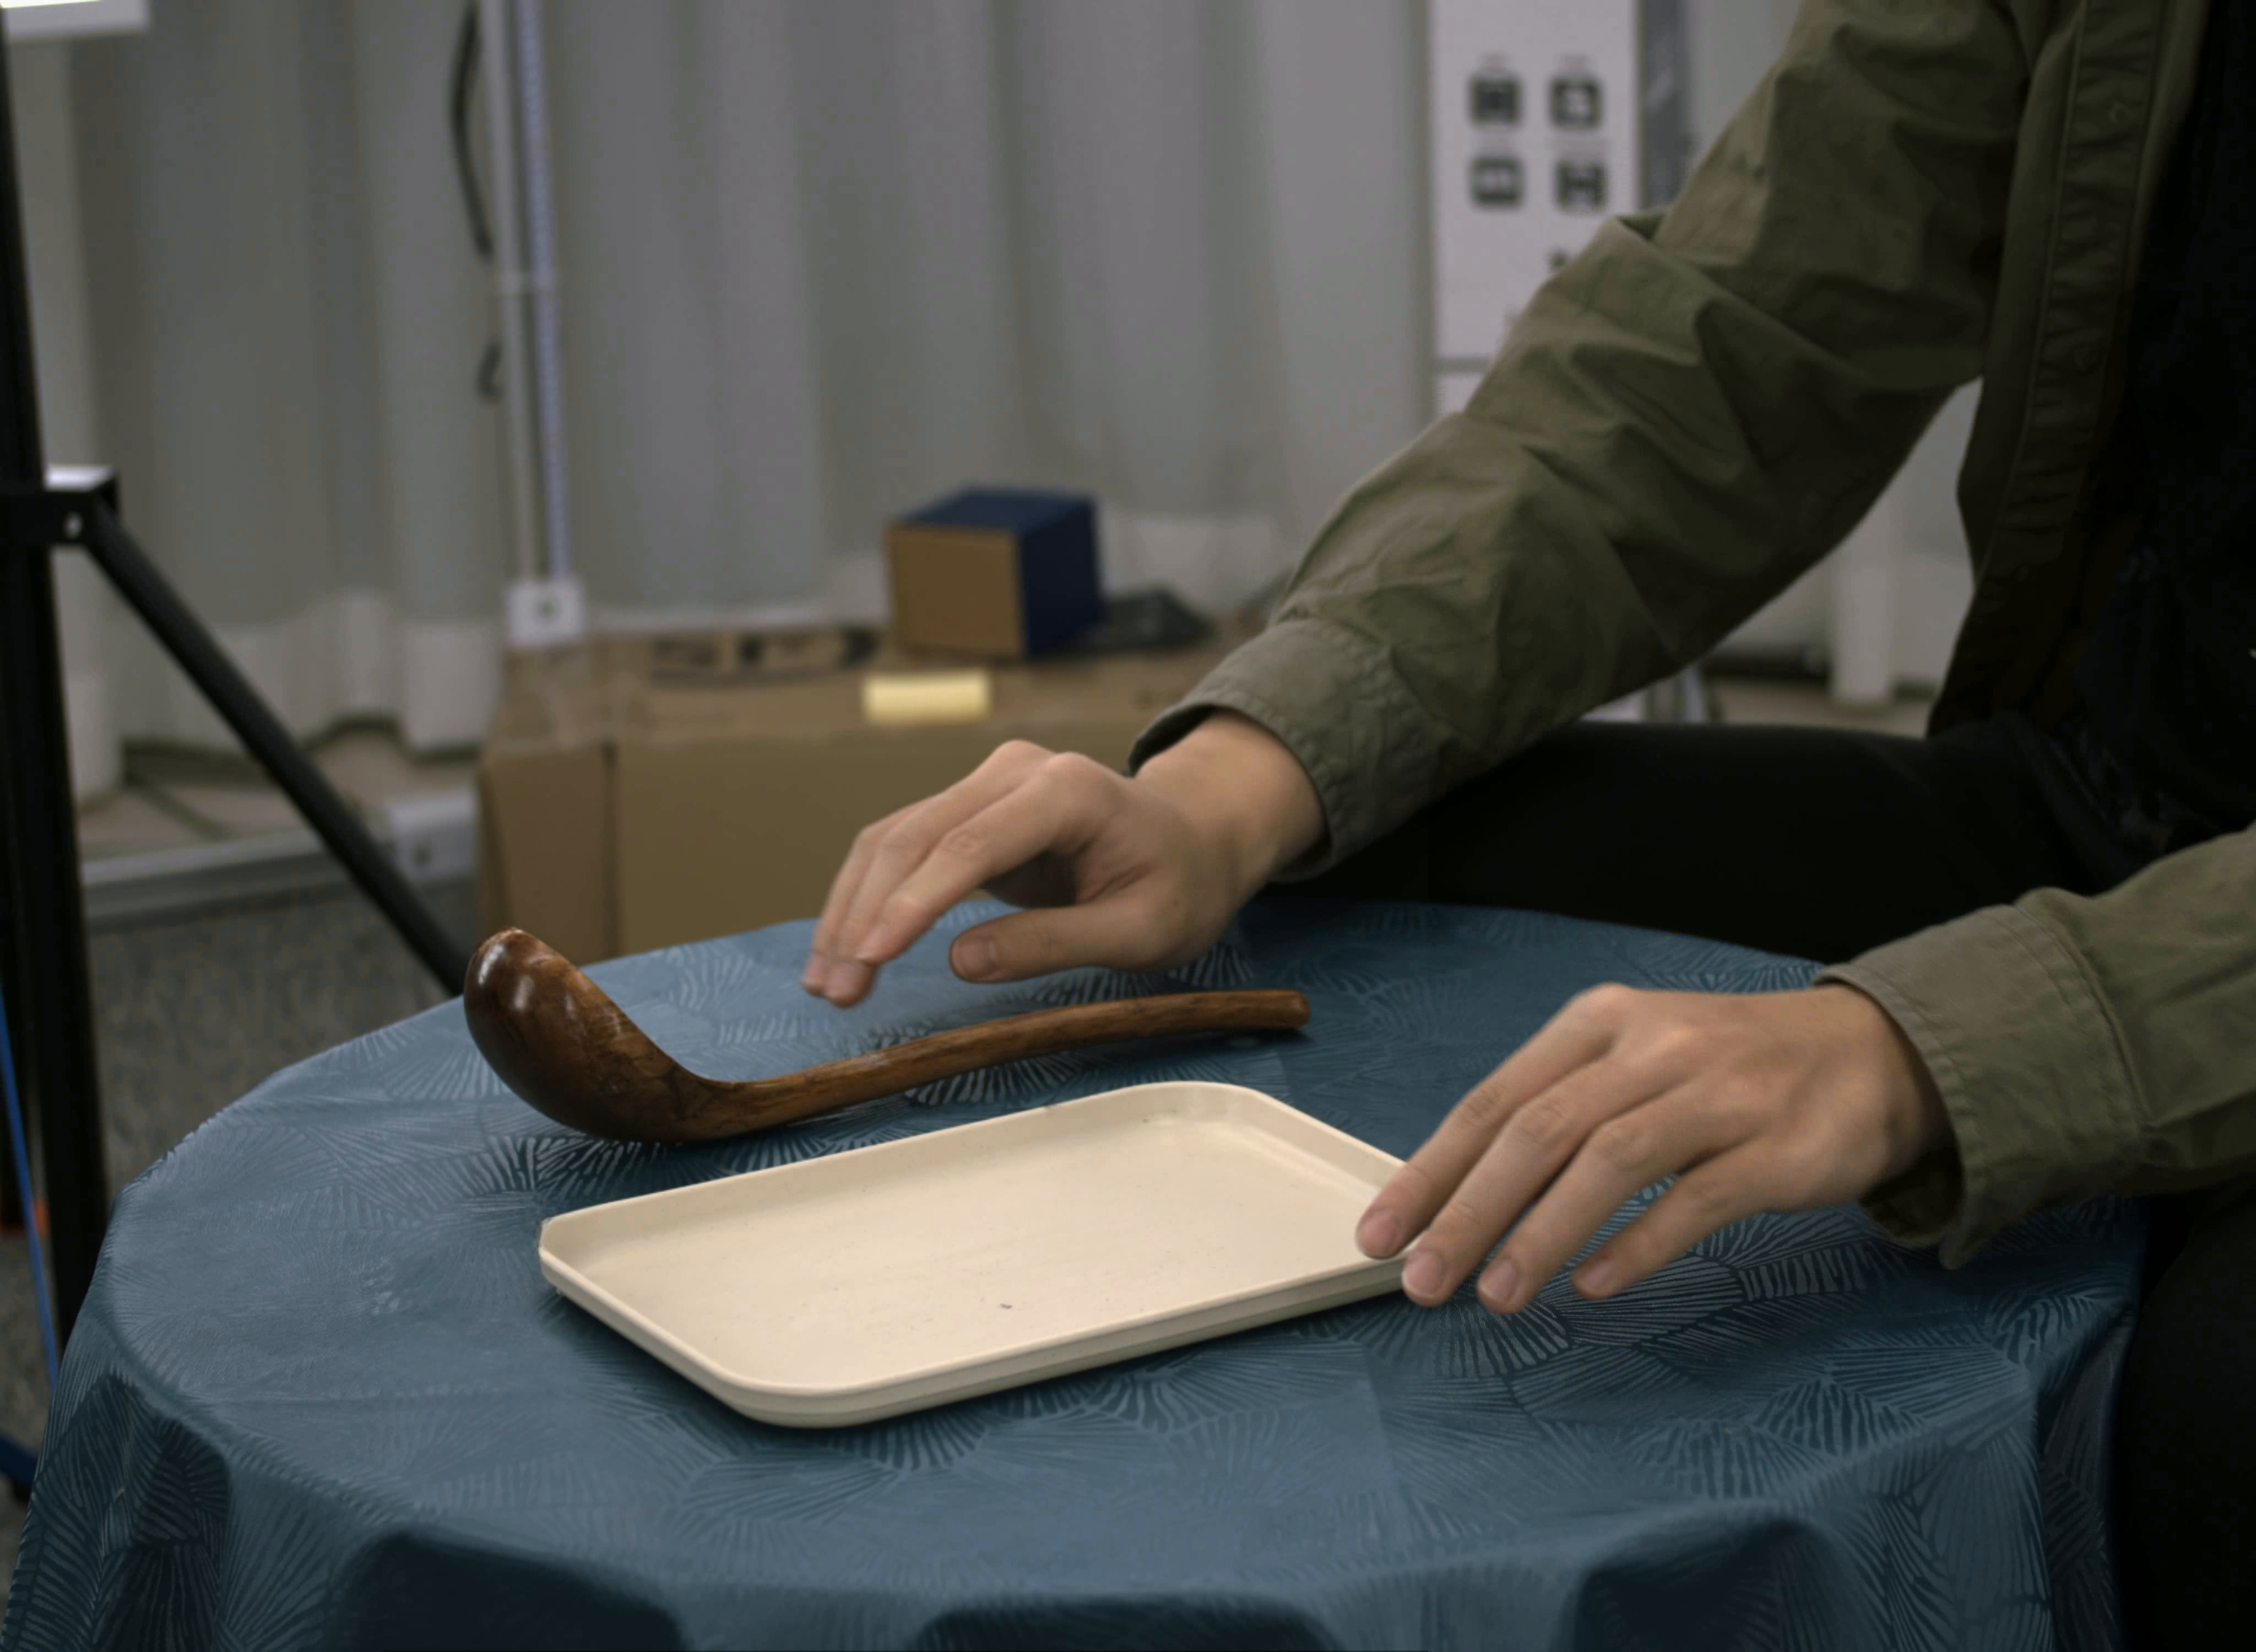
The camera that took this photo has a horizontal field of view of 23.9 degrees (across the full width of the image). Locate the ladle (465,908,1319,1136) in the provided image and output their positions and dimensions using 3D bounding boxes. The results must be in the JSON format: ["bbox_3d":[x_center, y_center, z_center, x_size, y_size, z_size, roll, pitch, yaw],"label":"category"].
[{"bbox_3d":[-0.071,0.046,1.650,0.269,0.077,0.083,-8,5,-20],"label":"ladle"}]

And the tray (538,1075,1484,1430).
[{"bbox_3d":[-0.033,0.119,1.497,0.234,0.017,0.175,-11,19,-28],"label":"tray"}]
